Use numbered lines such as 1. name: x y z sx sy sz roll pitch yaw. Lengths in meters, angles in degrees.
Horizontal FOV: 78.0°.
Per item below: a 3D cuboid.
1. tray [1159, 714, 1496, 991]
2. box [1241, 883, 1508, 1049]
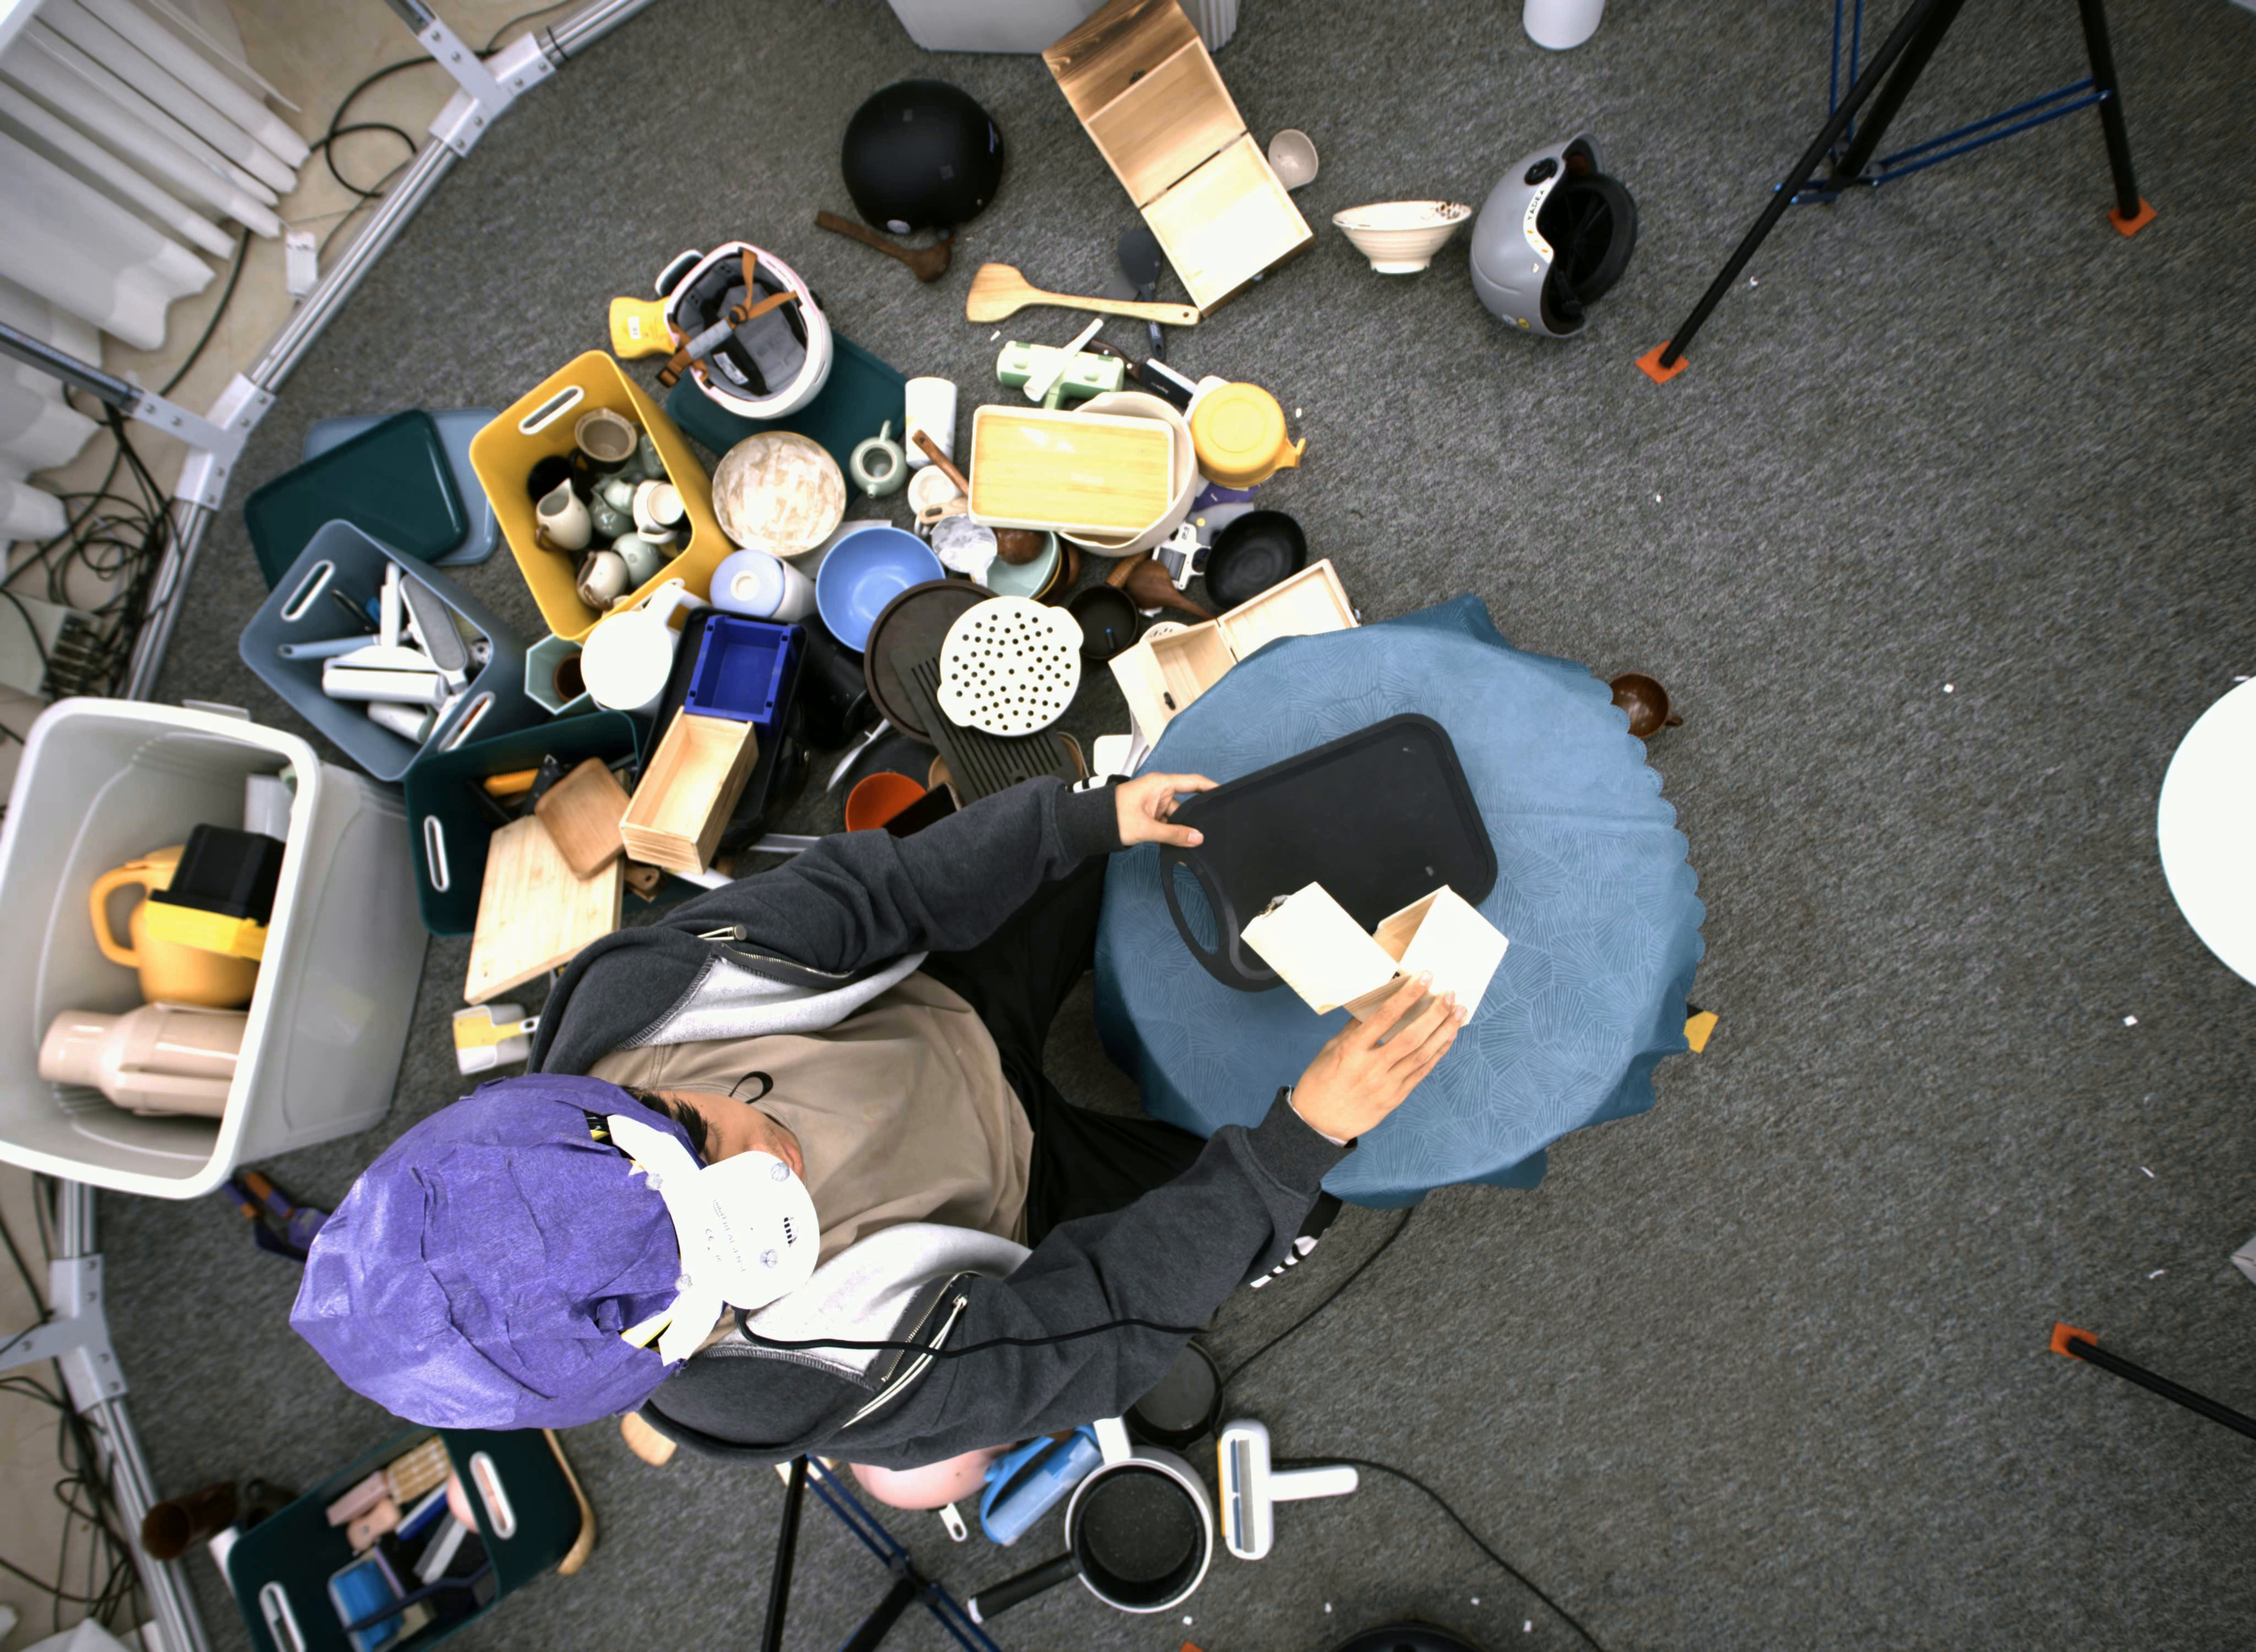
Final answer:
1. tray: 0.194 0.031 1.380 0.326 0.010 0.211 -21 95 3
2. box: 0.216 0.096 1.207 0.185 0.104 0.131 41 57 -8
